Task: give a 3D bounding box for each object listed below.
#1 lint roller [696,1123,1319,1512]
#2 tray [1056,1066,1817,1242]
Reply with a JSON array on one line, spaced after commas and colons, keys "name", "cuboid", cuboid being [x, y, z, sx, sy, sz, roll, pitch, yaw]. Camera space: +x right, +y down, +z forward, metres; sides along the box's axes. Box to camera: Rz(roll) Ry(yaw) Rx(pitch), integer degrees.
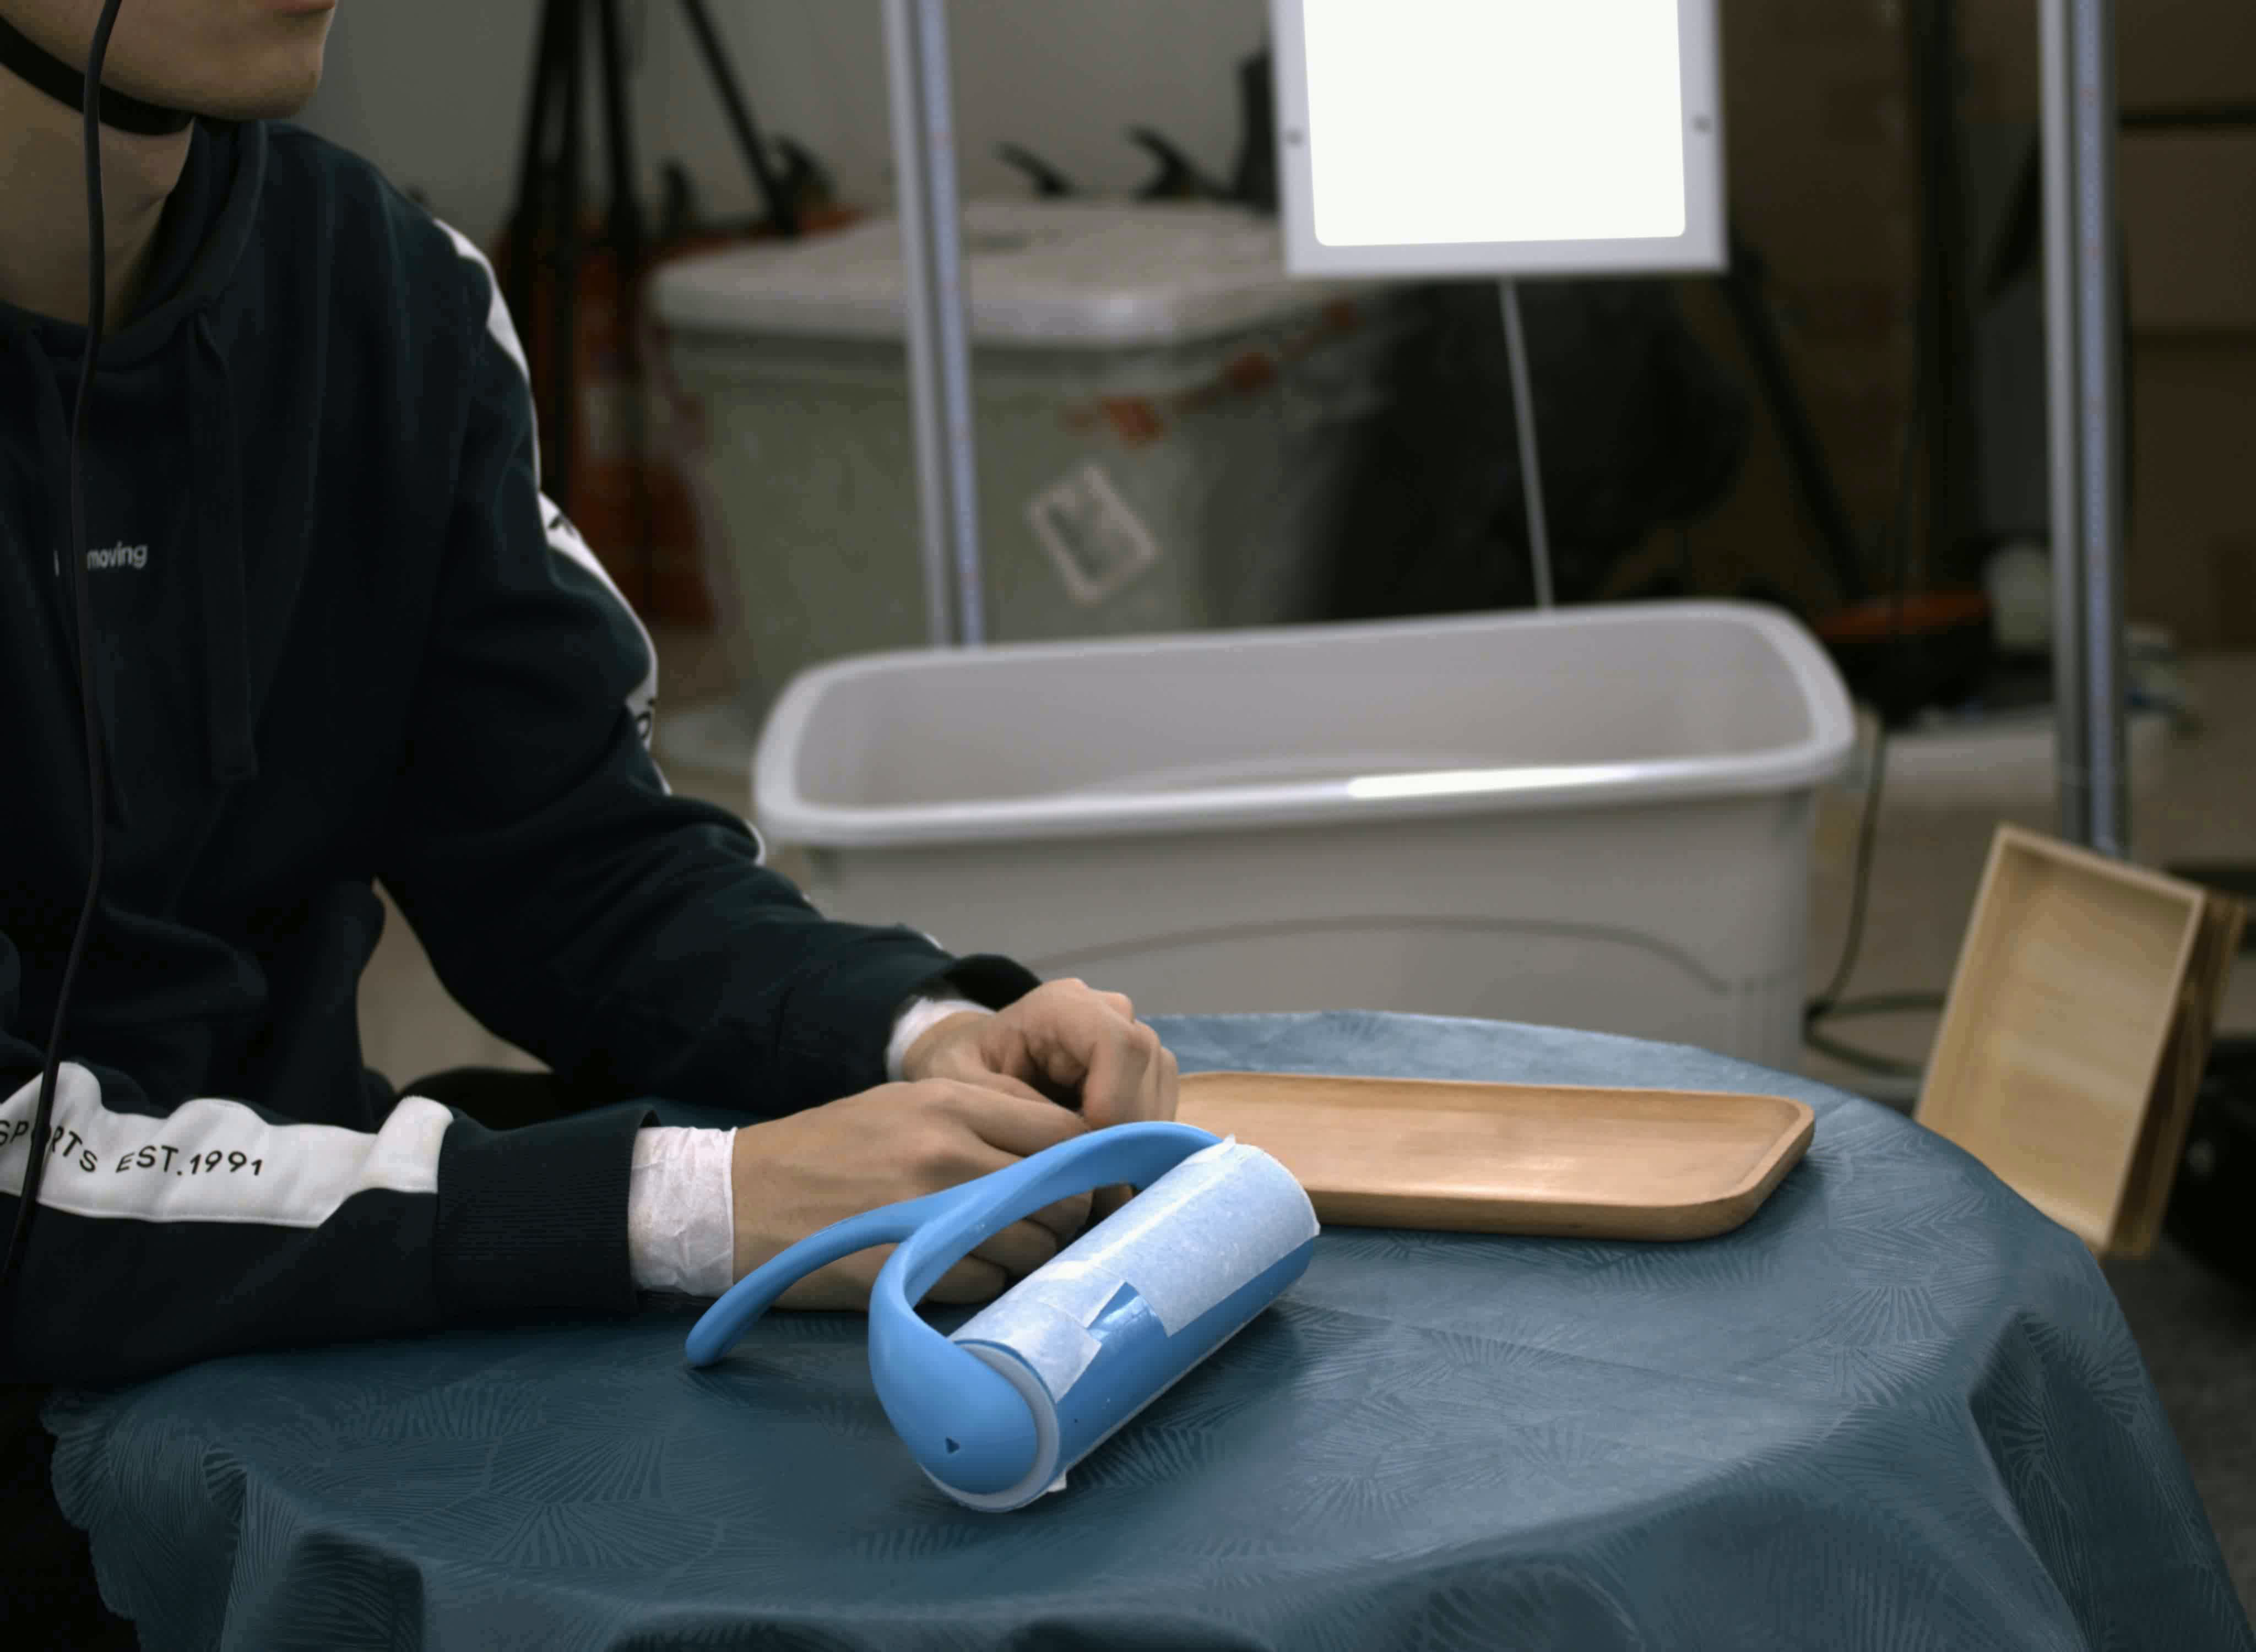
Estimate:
[{"name": "lint roller", "cuboid": [-0.056, 0.148, 1.709, 0.183, 0.068, 0.224, 2, 17, 23]}, {"name": "tray", "cuboid": [0.105, 0.111, 1.882, 0.255, 0.023, 0.128, 1, 13, 25]}]
